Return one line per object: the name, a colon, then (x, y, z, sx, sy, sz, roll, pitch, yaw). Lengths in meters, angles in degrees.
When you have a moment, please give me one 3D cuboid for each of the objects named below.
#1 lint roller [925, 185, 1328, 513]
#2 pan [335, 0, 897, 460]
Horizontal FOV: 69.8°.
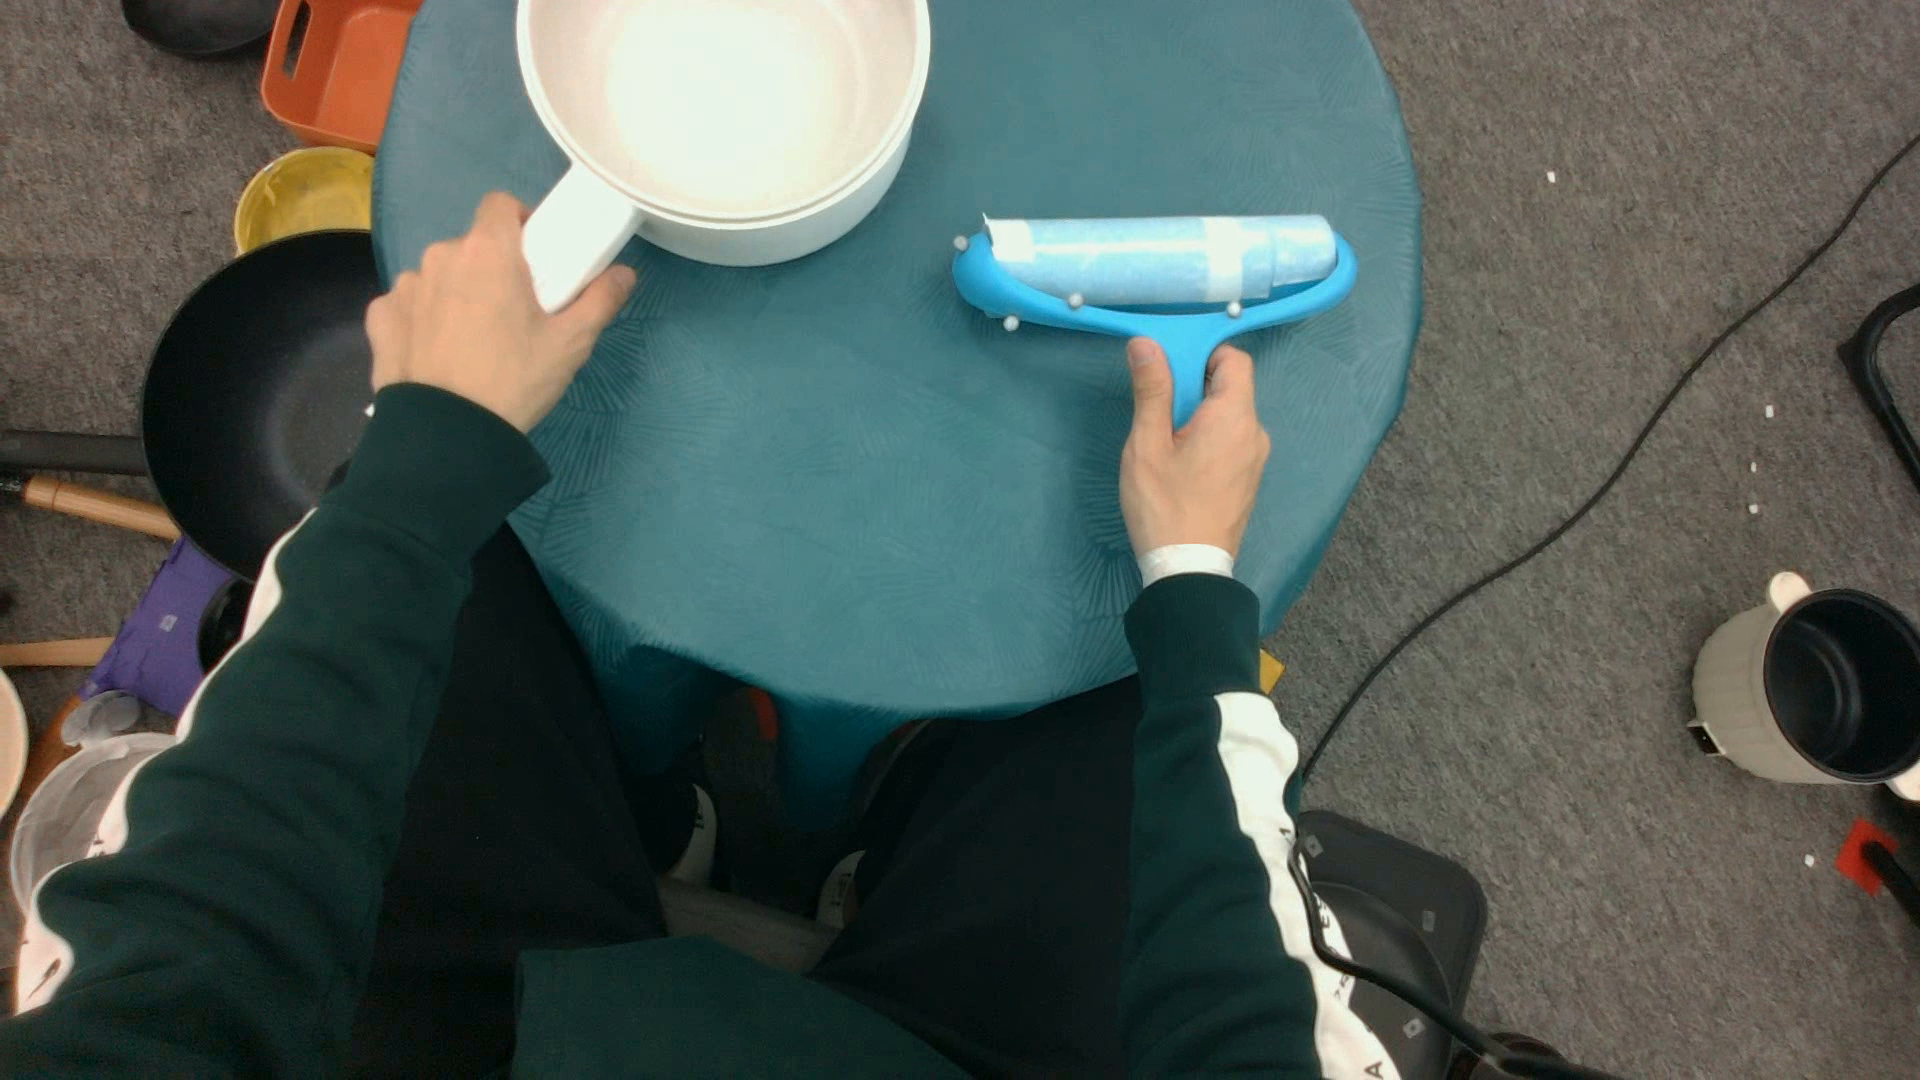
lint roller: (0.104, -0.110, 0.753, 0.229, 0.067, 0.180, -7, 75, -12)
pan: (-0.179, -0.188, 0.712, 0.201, 0.102, 0.355, 36, 83, -1)
